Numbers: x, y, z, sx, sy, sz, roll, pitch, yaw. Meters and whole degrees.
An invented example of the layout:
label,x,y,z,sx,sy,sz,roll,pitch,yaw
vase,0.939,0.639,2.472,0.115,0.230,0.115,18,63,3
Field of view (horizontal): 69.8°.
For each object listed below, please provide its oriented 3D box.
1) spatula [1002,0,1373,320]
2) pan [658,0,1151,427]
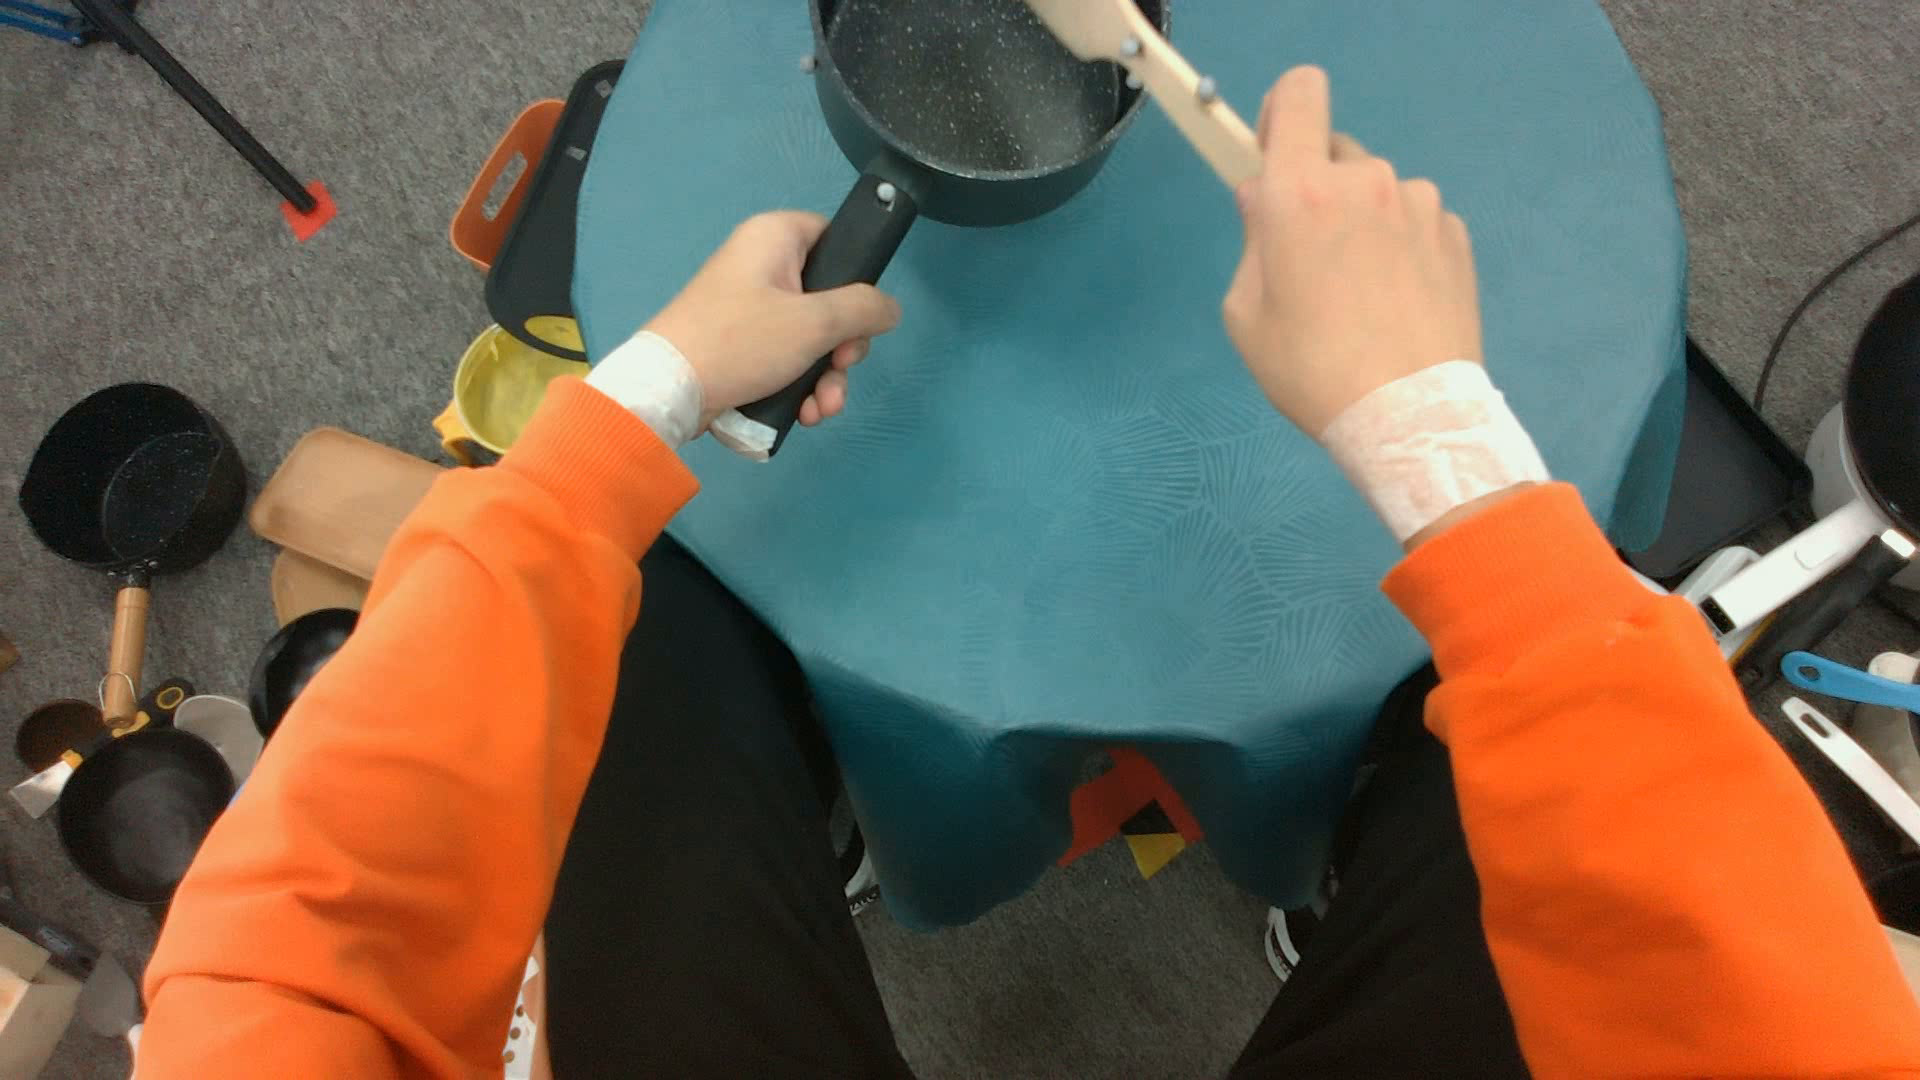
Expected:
label,x,y,z,sx,sy,sz,roll,pitch,yaw
spatula,0.081,-0.198,0.591,0.011,0.072,0.293,-27,63,-15
pan,-0.037,-0.186,0.661,0.172,0.086,0.329,31,76,-1
